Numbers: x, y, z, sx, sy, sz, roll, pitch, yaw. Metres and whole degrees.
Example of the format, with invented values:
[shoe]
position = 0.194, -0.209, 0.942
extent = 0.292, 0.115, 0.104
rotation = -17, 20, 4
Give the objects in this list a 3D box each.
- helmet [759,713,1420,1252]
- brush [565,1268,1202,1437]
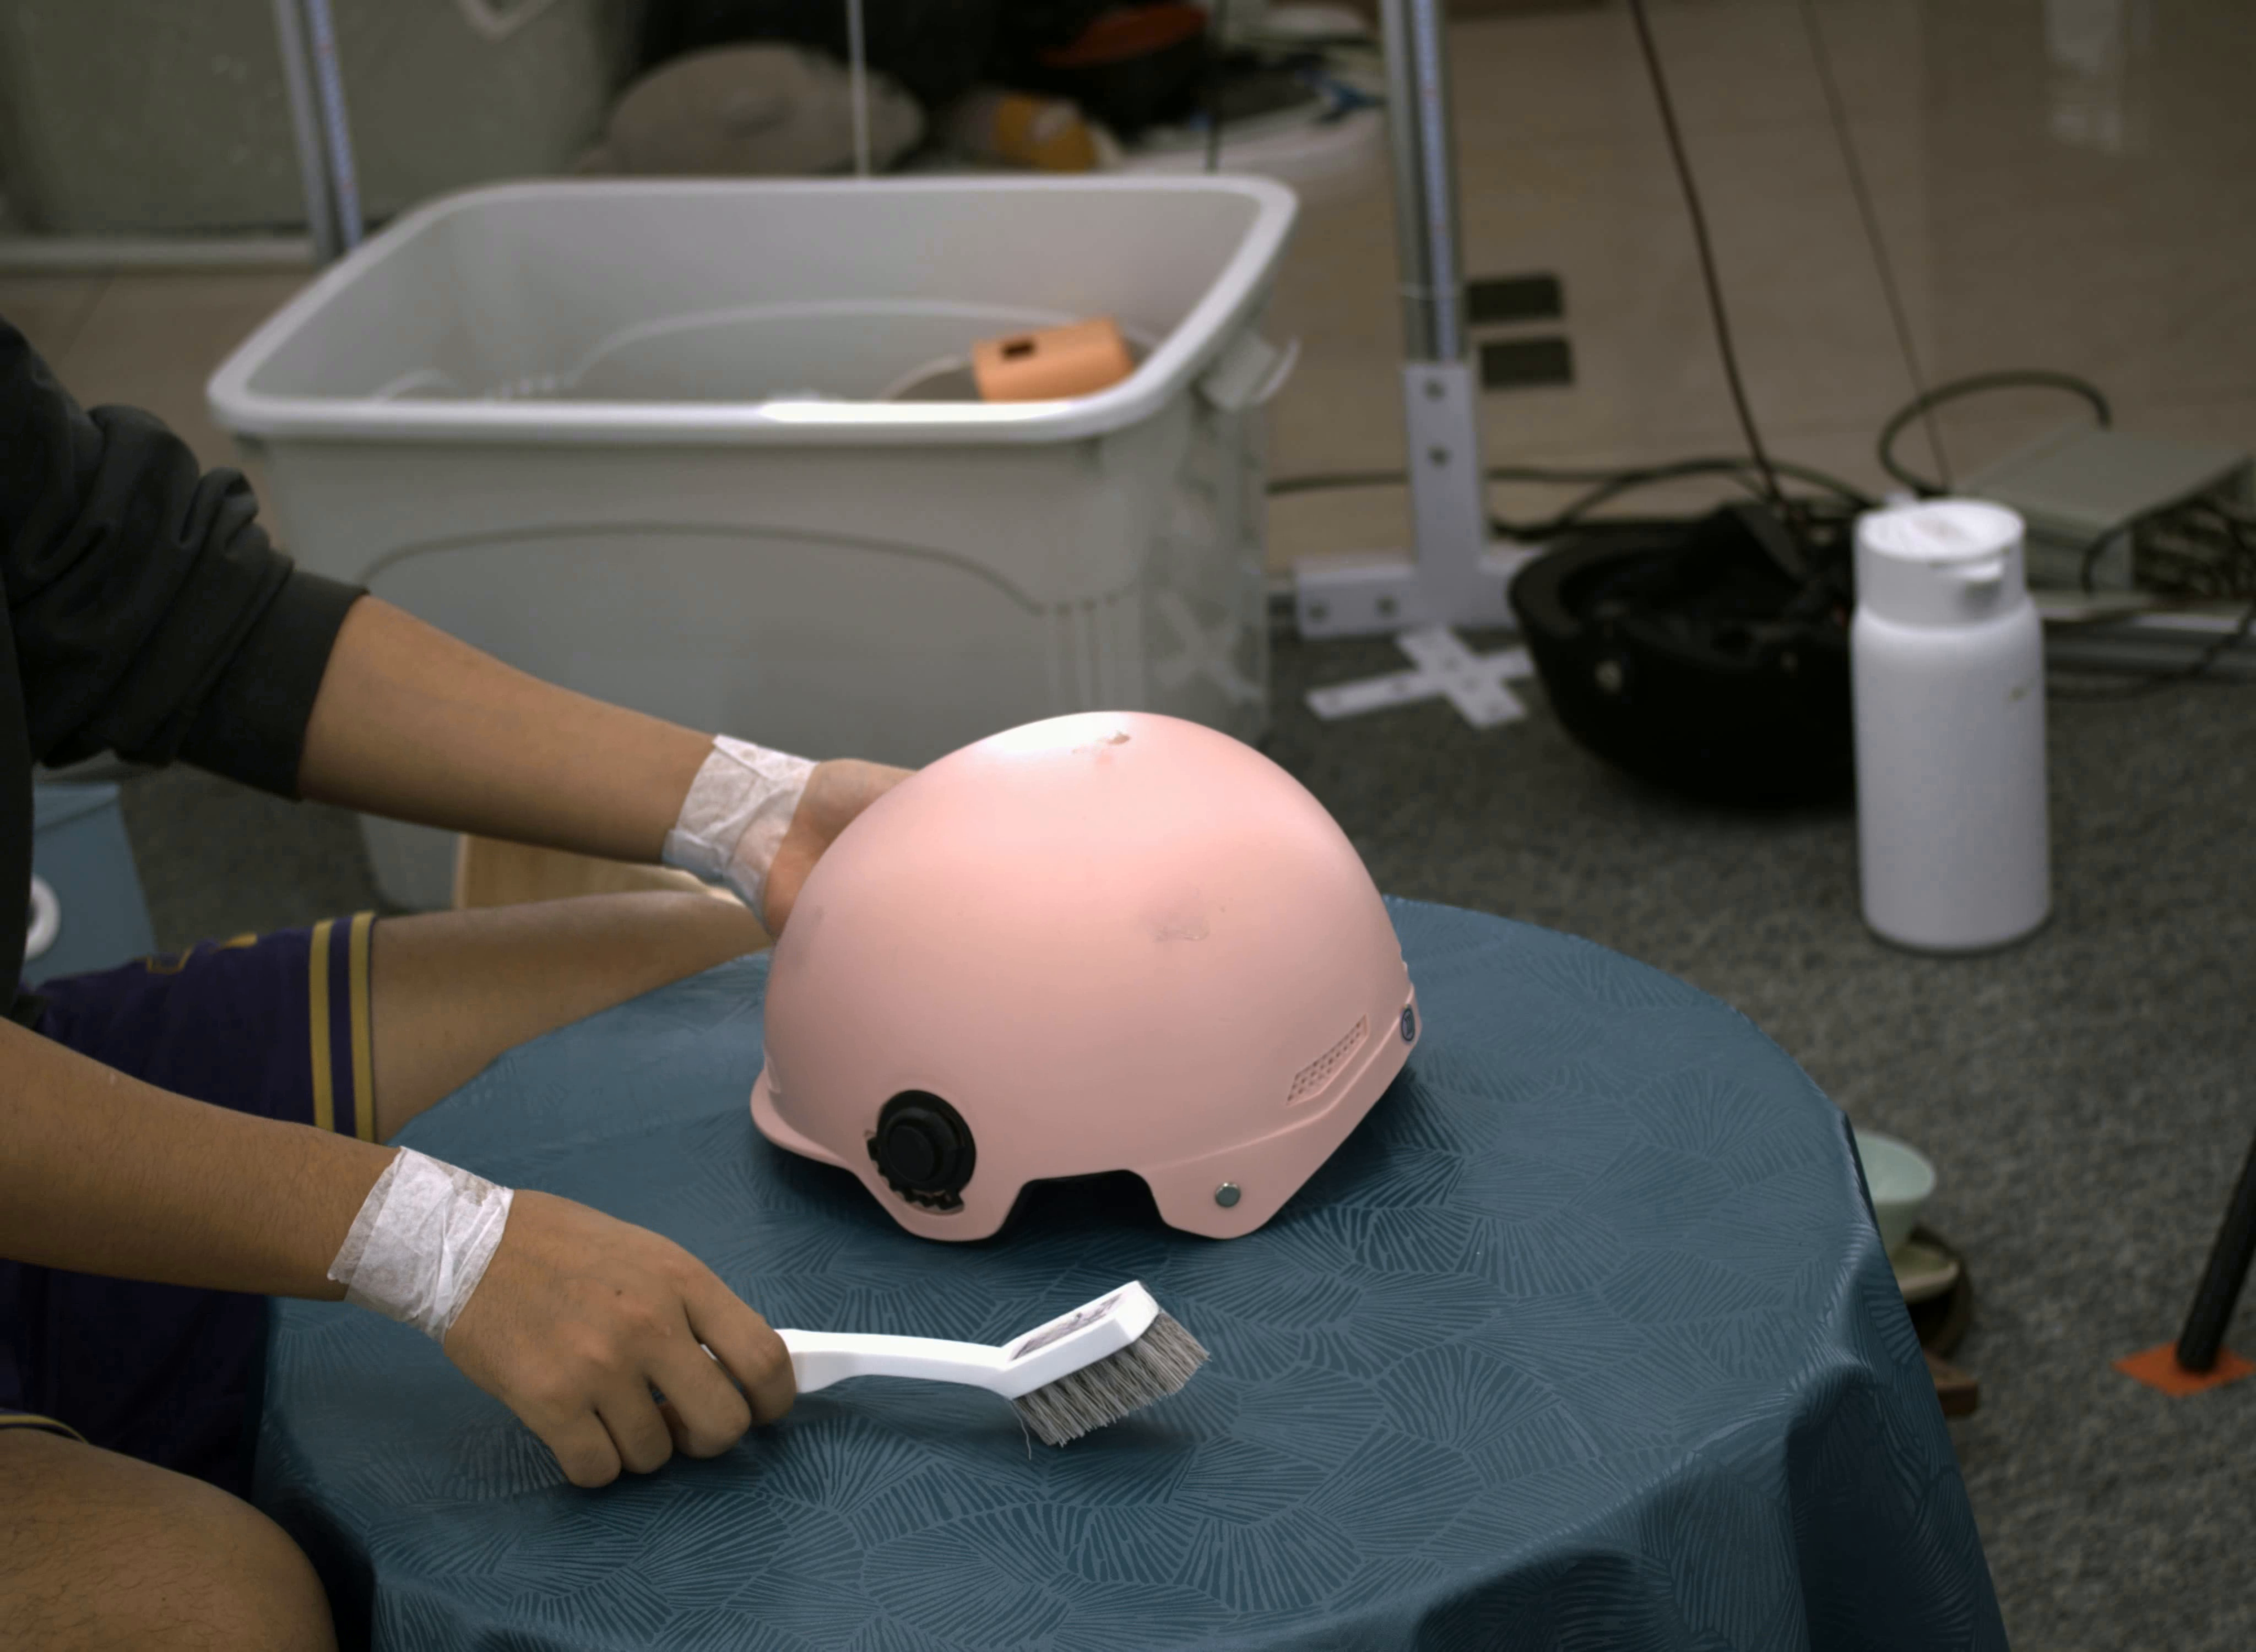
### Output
[helmet]
position = -0.025, 0.043, 2.174
extent = 0.265, 0.161, 0.230
rotation = -1, 27, 20
[brush]
position = -0.088, 0.199, 2.012
extent = 0.244, 0.051, 0.034
rotation = -11, 20, 24
